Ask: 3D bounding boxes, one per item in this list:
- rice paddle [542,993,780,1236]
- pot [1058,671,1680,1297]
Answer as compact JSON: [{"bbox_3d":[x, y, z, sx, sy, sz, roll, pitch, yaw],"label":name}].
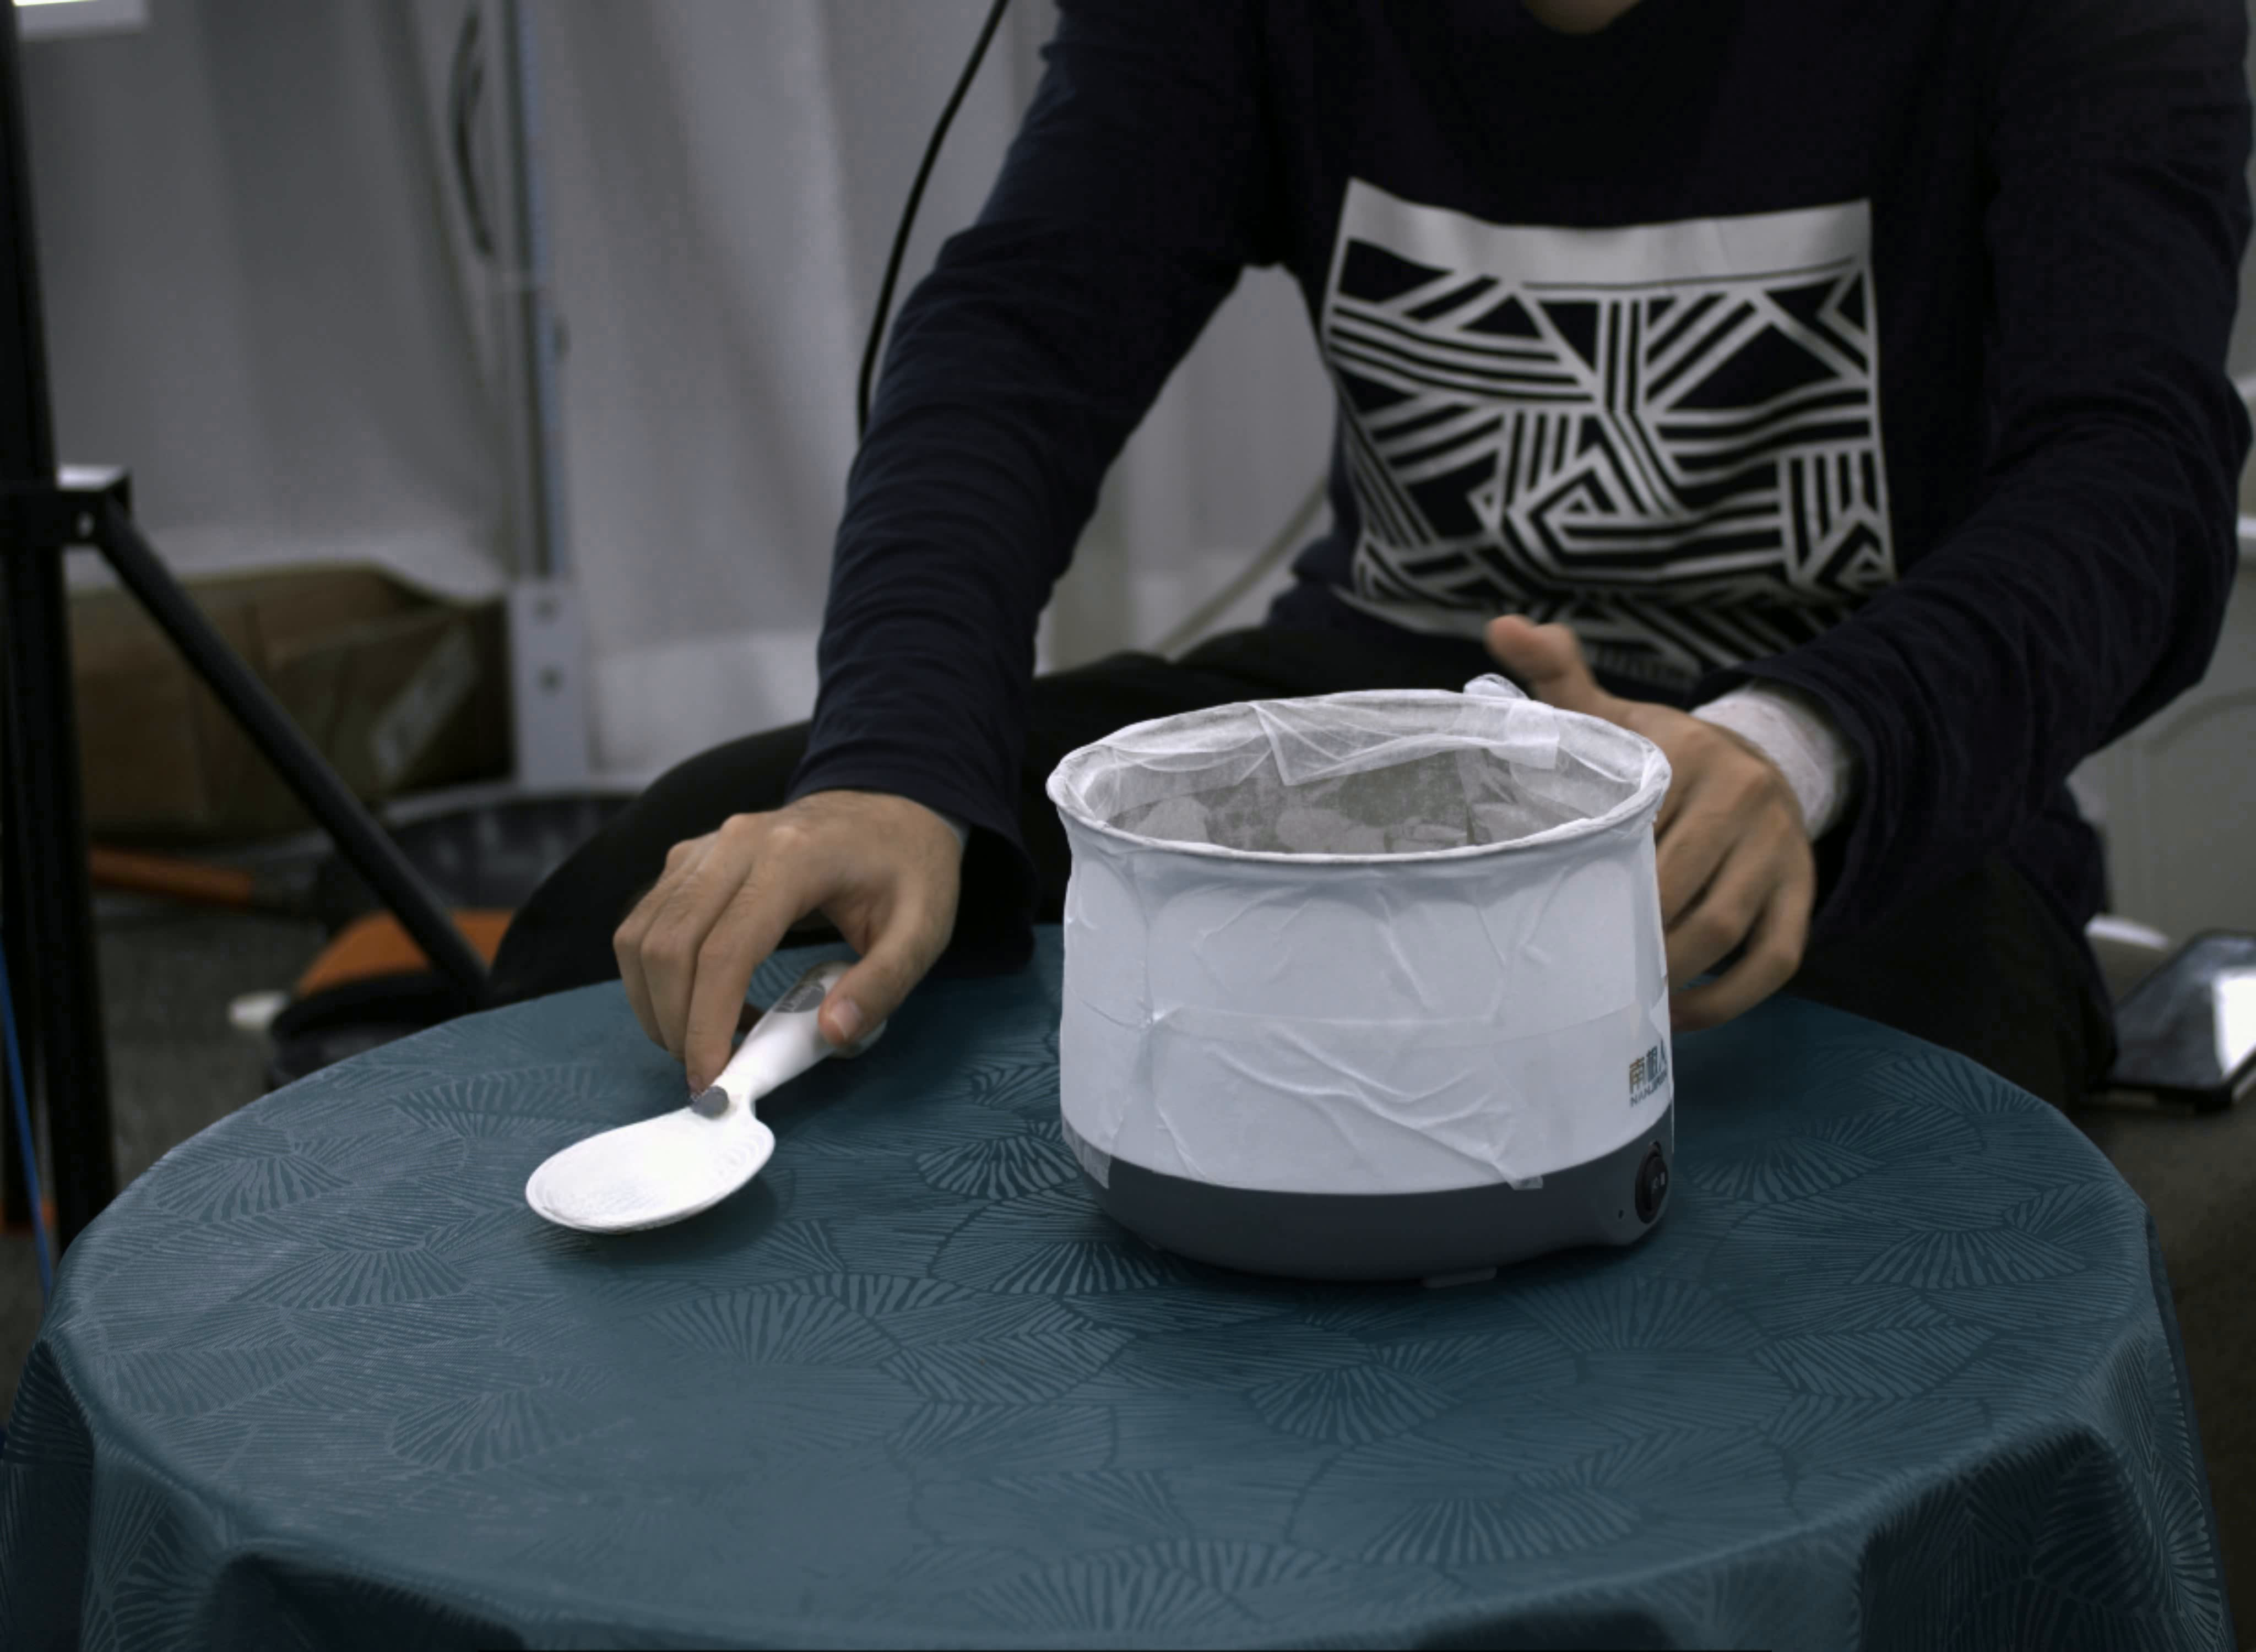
[{"bbox_3d":[-0.132,0.089,1.602,0.068,0.029,0.205,0,12,3],"label":"rice paddle"},{"bbox_3d":[0.079,0.039,1.544,0.181,0.136,0.230,7,18,24],"label":"pot"}]
